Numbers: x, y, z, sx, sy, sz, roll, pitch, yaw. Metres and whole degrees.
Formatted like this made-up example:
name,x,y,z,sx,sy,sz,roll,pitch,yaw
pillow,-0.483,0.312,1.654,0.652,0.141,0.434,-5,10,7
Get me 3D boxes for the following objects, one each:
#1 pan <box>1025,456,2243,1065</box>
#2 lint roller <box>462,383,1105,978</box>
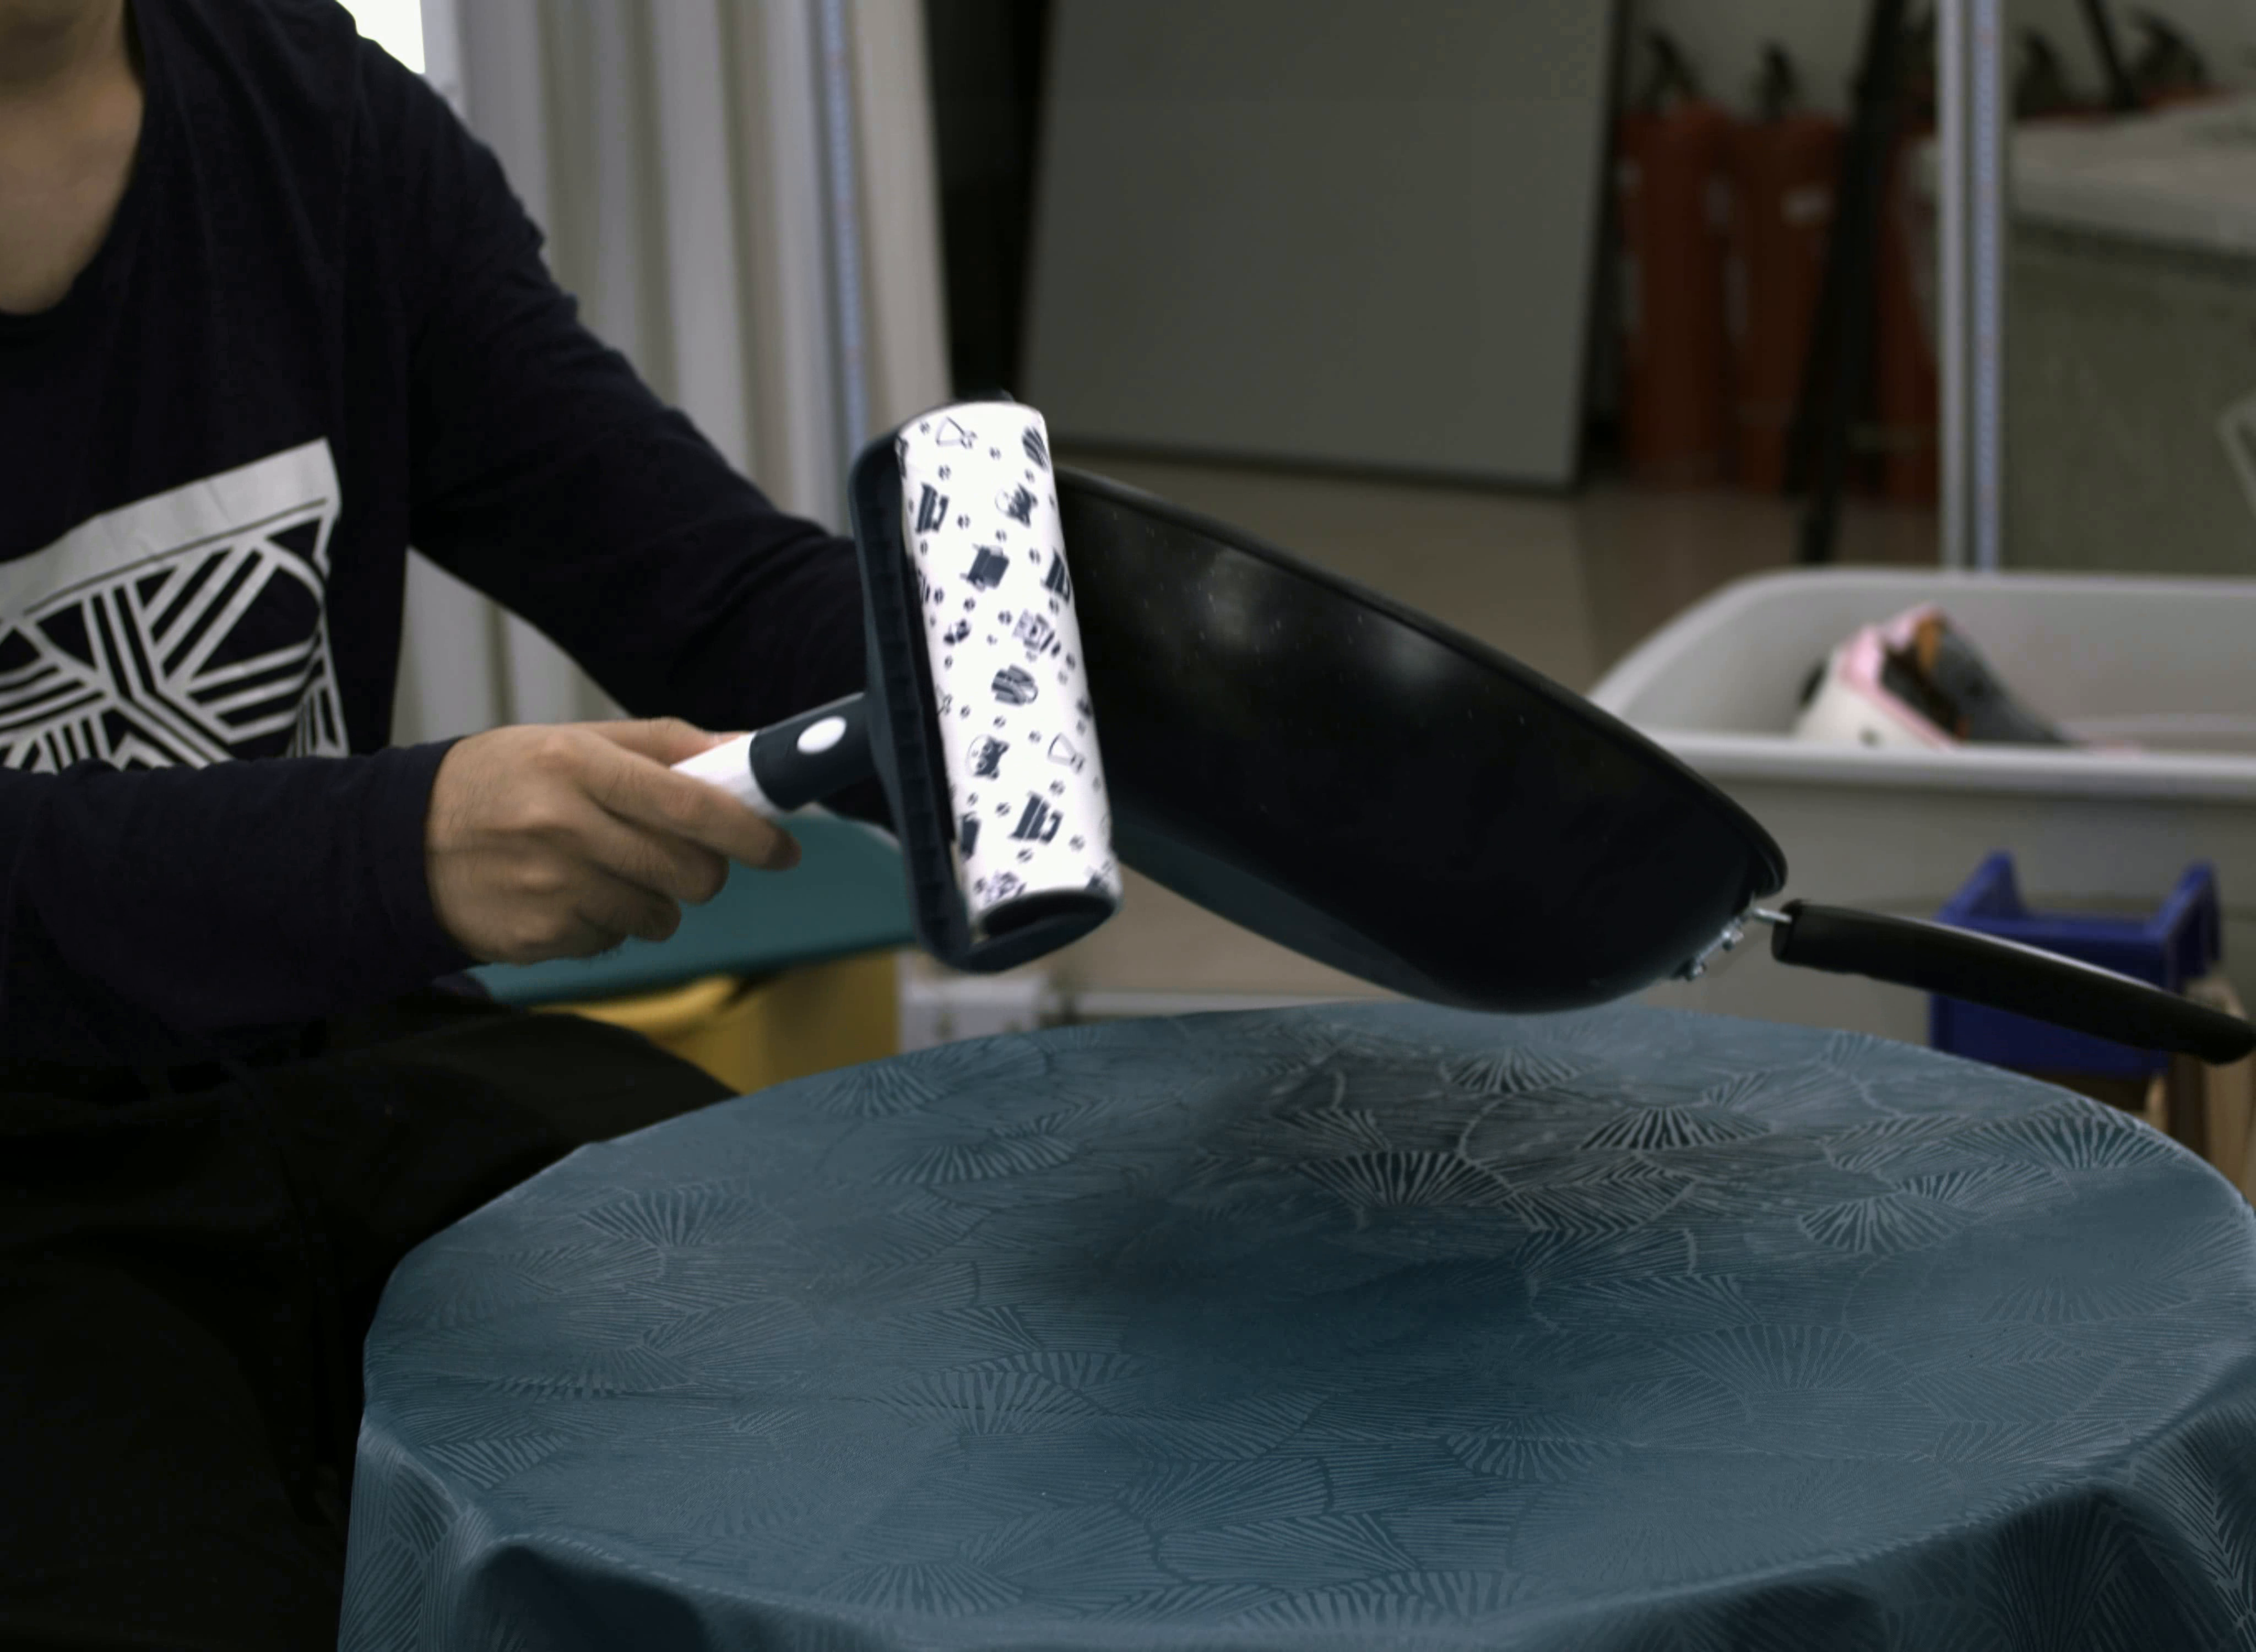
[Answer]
name,x,y,z,sx,sy,sz,roll,pitch,yaw
pan,0.130,0.013,1.749,0.472,0.112,0.311,26,-6,-2
lint roller,-0.119,-0.012,1.673,0.248,0.179,0.049,-24,-26,31
